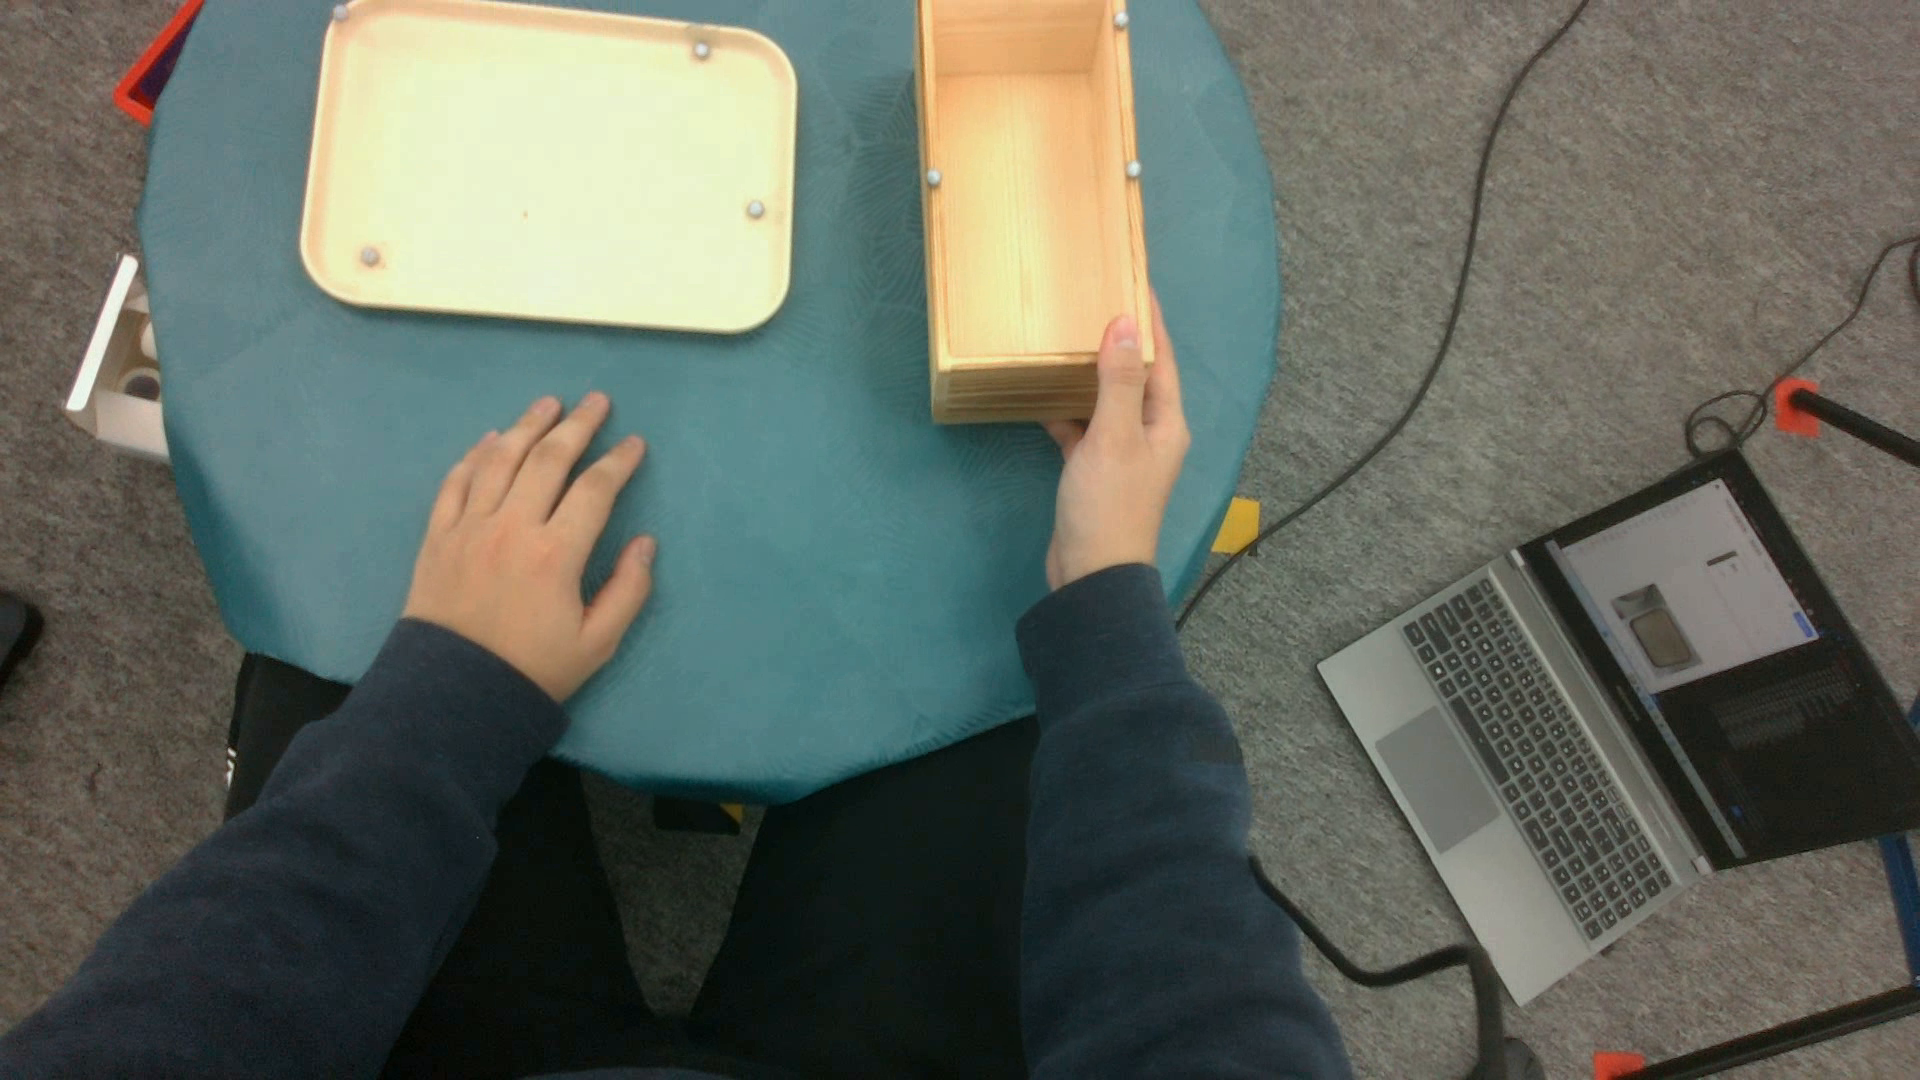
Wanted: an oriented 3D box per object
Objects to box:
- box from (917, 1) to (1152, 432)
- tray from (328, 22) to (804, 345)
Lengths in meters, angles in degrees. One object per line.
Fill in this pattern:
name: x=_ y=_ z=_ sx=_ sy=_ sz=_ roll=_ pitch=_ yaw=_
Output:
box: x=0.035 y=-0.171 z=0.731 sx=0.107 sy=0.080 sz=0.212 roll=-3 pitch=76 yaw=-2
tray: x=-0.205 y=-0.189 z=0.737 sx=0.240 sy=0.017 sz=0.171 roll=3 pitch=78 yaw=-9
